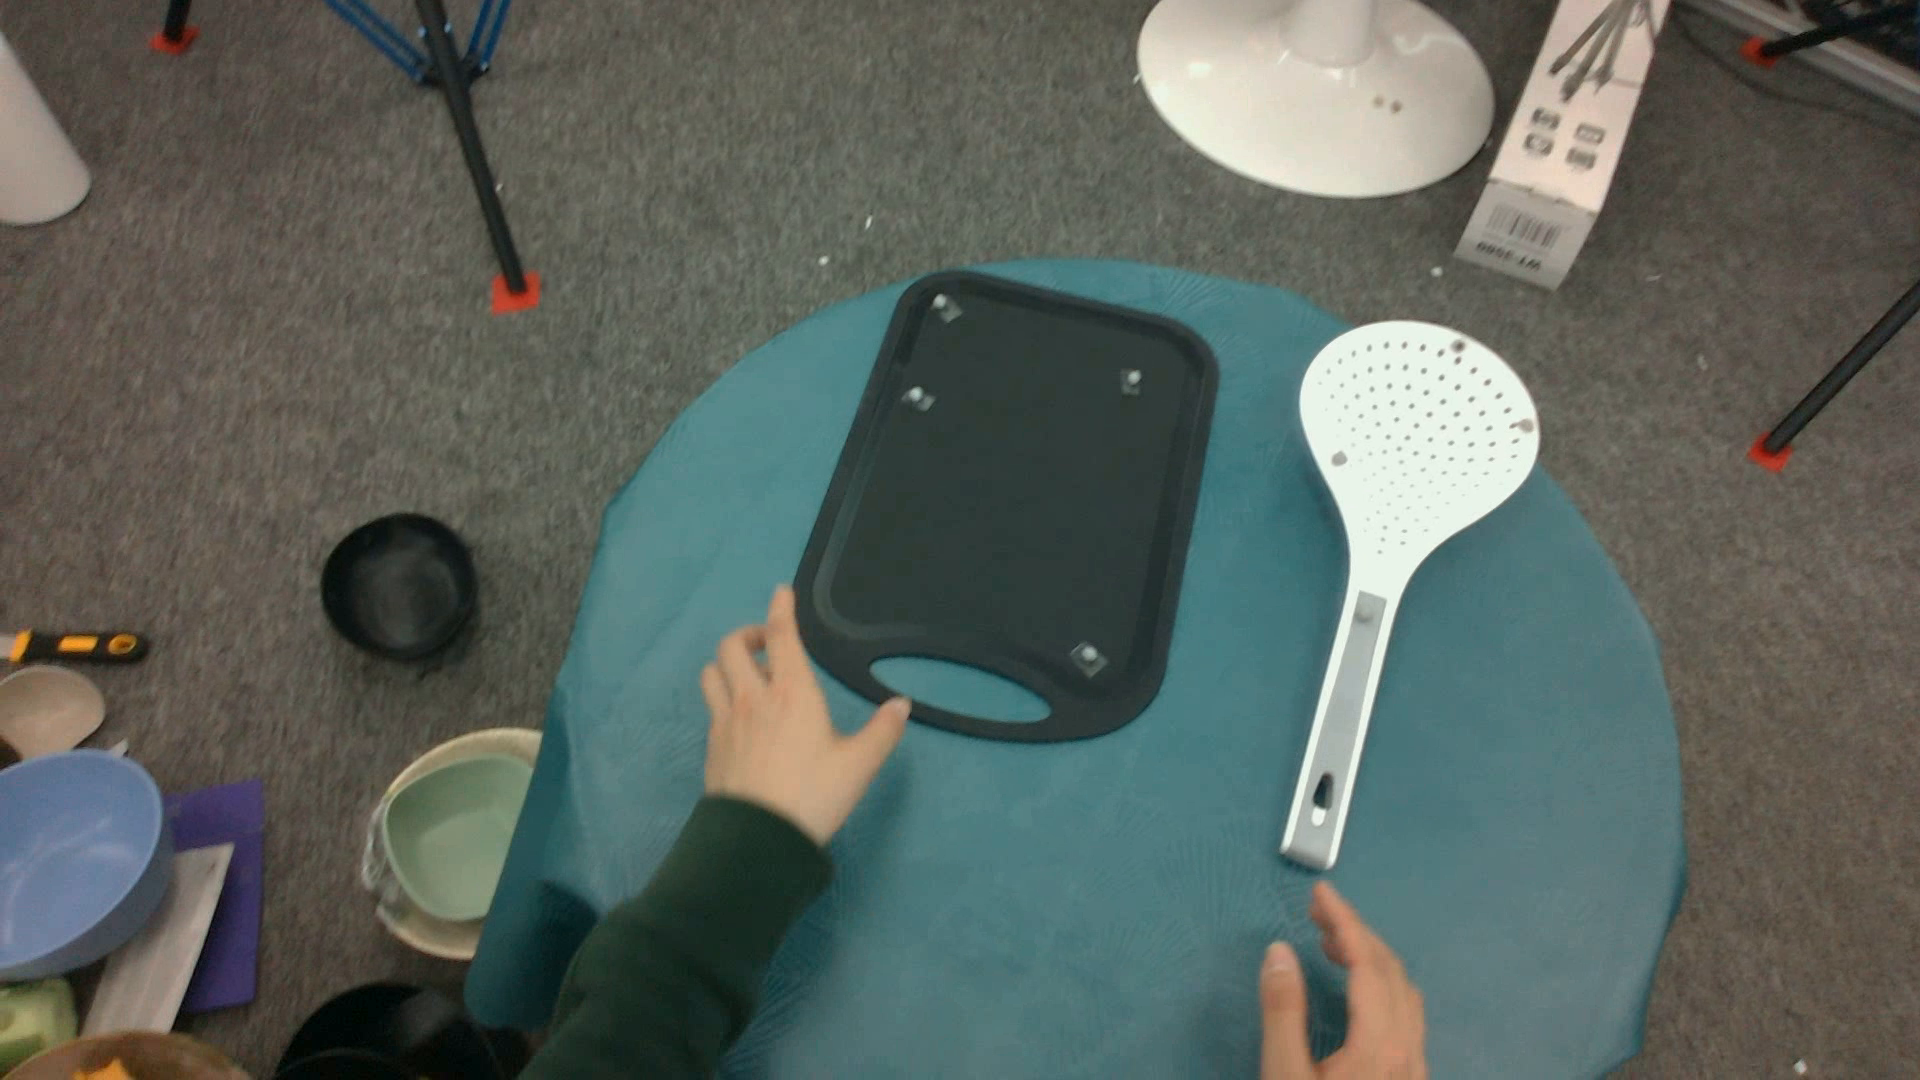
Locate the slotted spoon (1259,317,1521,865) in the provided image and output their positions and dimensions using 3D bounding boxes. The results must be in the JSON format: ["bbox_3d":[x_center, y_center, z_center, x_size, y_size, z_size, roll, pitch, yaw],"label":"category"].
[{"bbox_3d":[0.224,0.016,0.767,0.136,0.045,0.351,19,58,9],"label":"slotted spoon"}]

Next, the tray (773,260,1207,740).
[{"bbox_3d":[0.025,-0.035,0.802,0.211,0.010,0.327,14,57,4],"label":"tray"}]
